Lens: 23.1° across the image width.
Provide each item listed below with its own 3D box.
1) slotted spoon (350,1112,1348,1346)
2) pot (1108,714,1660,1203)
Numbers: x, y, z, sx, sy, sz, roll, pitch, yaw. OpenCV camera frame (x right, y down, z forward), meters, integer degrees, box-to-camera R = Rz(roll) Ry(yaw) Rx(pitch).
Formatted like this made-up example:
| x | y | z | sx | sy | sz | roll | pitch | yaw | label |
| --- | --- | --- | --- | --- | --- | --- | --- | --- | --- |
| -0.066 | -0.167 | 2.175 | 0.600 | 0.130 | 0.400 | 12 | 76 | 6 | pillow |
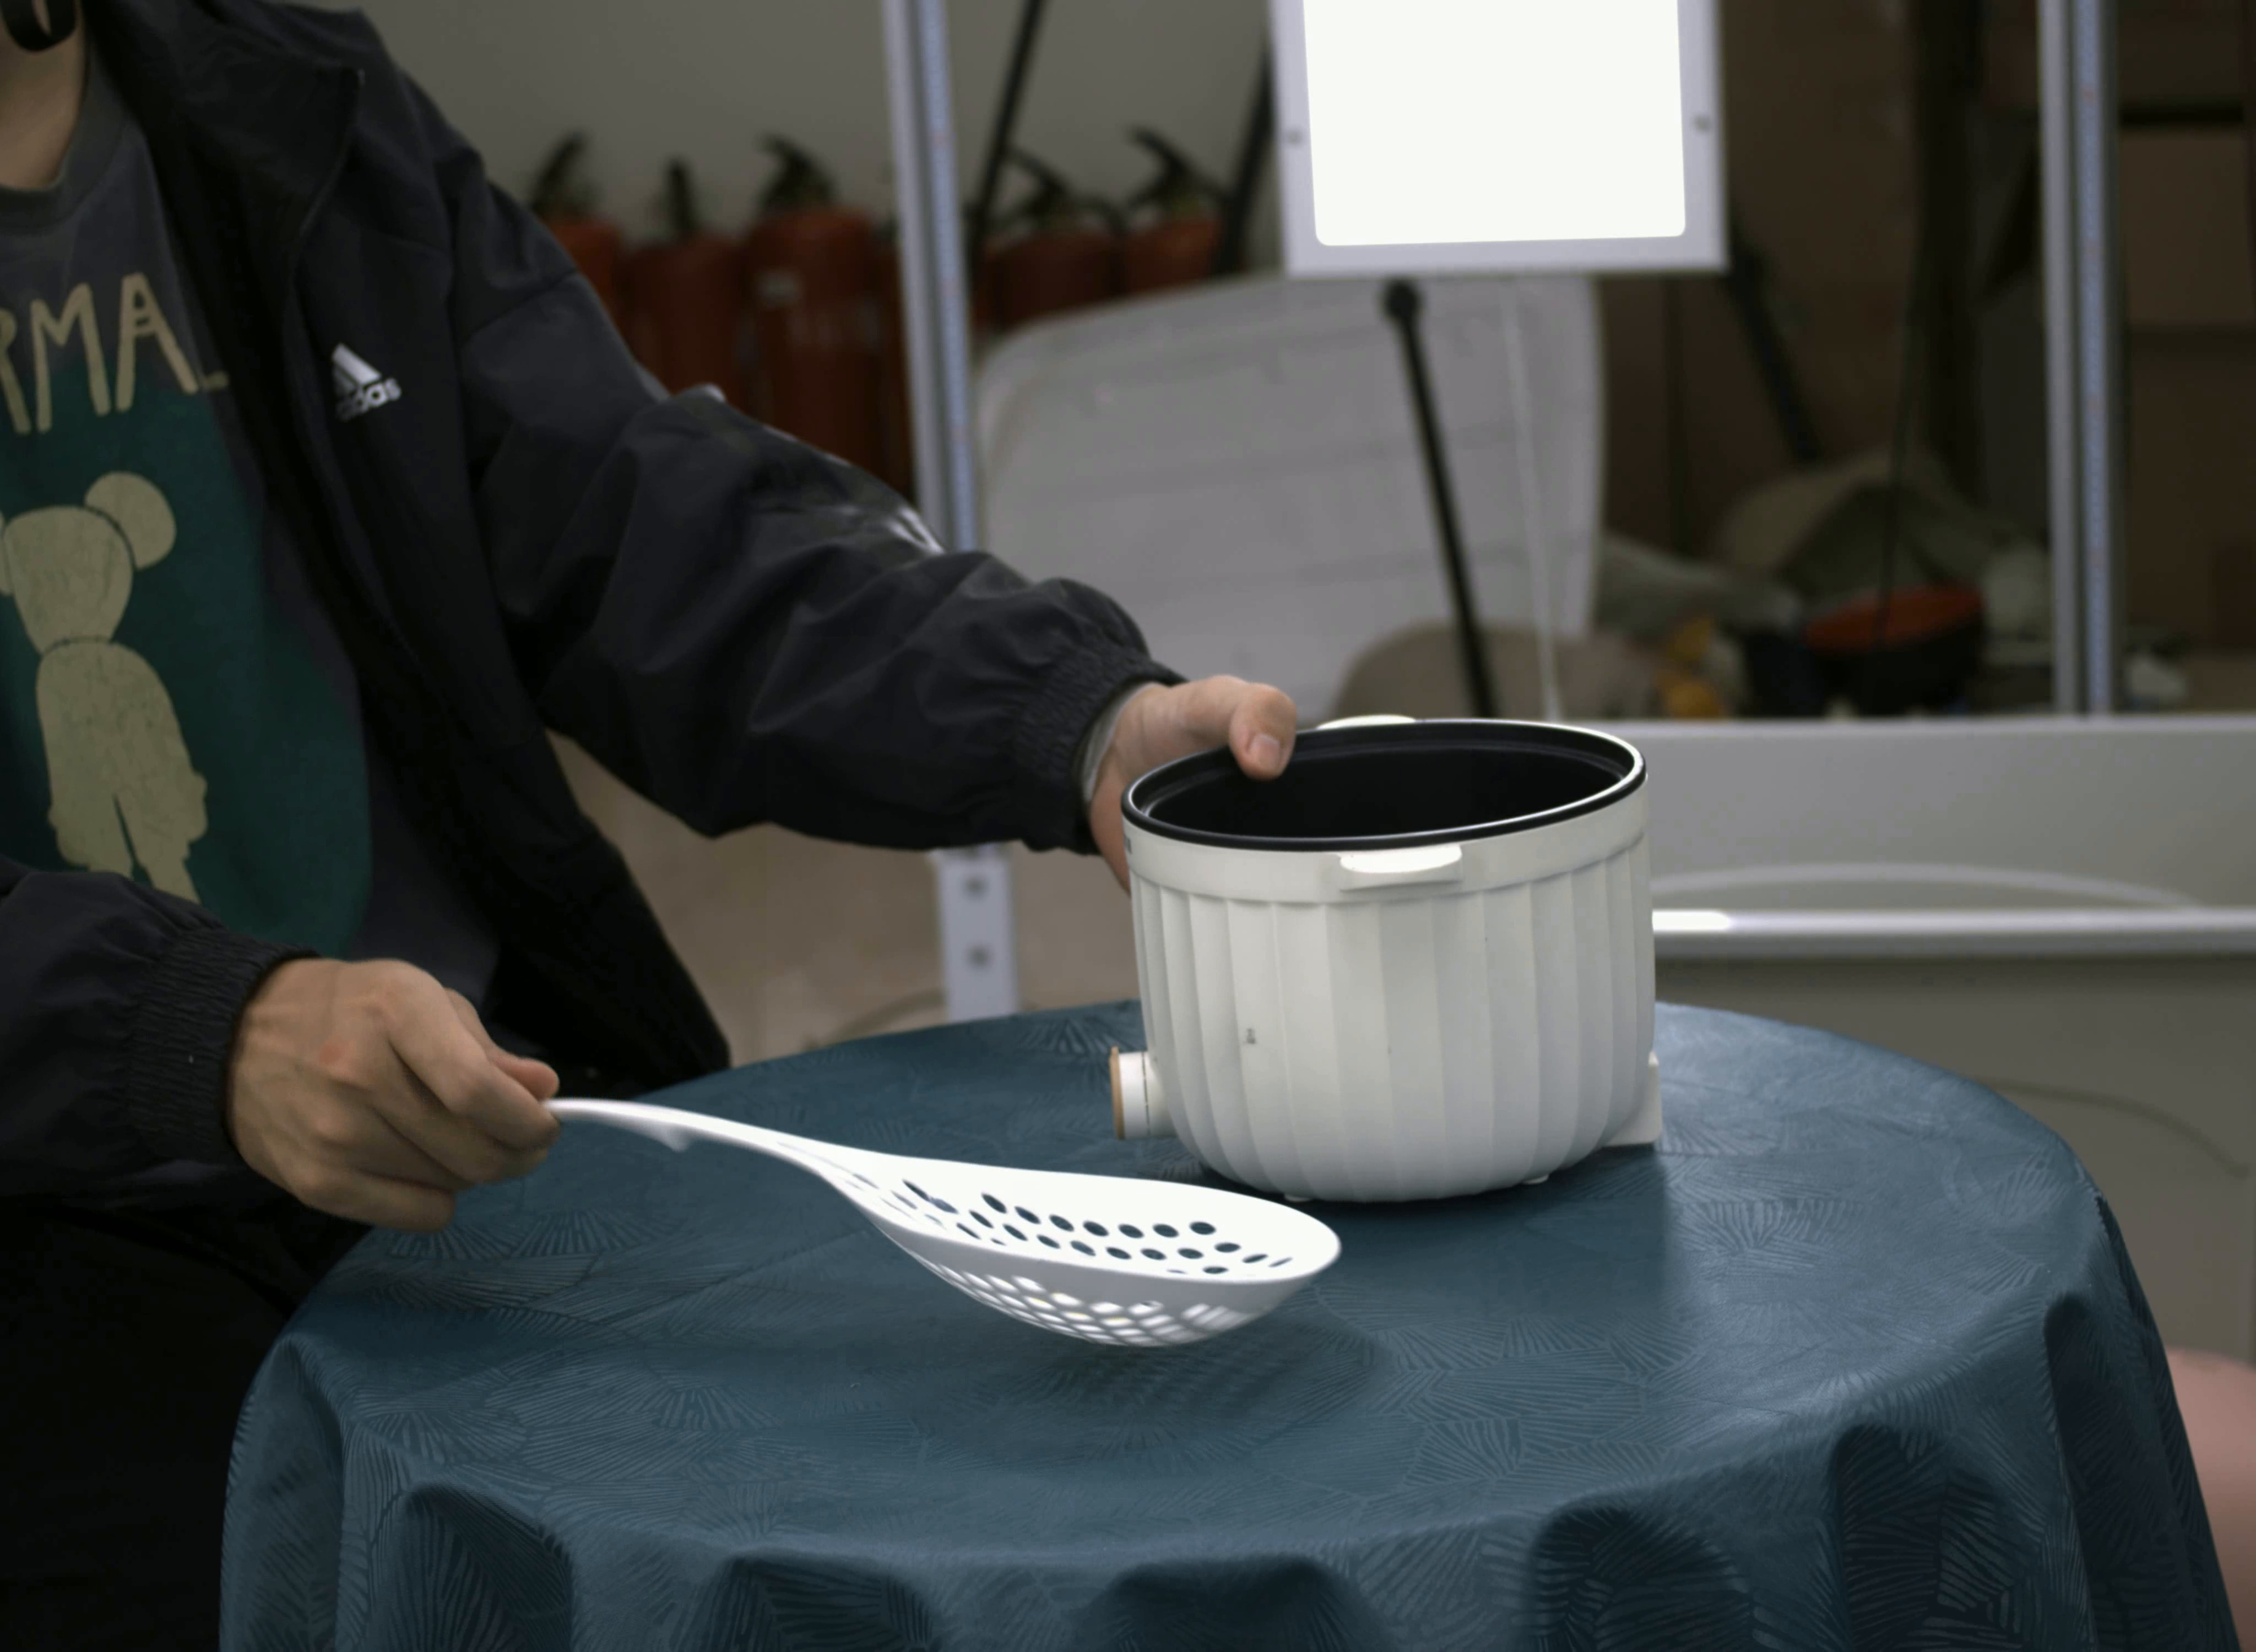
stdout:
| x | y | z | sx | sy | sz | roll | pitch | yaw | label |
| --- | --- | --- | --- | --- | --- | --- | --- | --- | --- |
| -0.097 | 0.117 | 1.769 | 0.353 | 0.050 | 0.134 | 13 | 12 | 26 | slotted spoon |
| 0.087 | 0.048 | 1.892 | 0.190 | 0.143 | 0.240 | -2 | 12 | 0 | pot |
